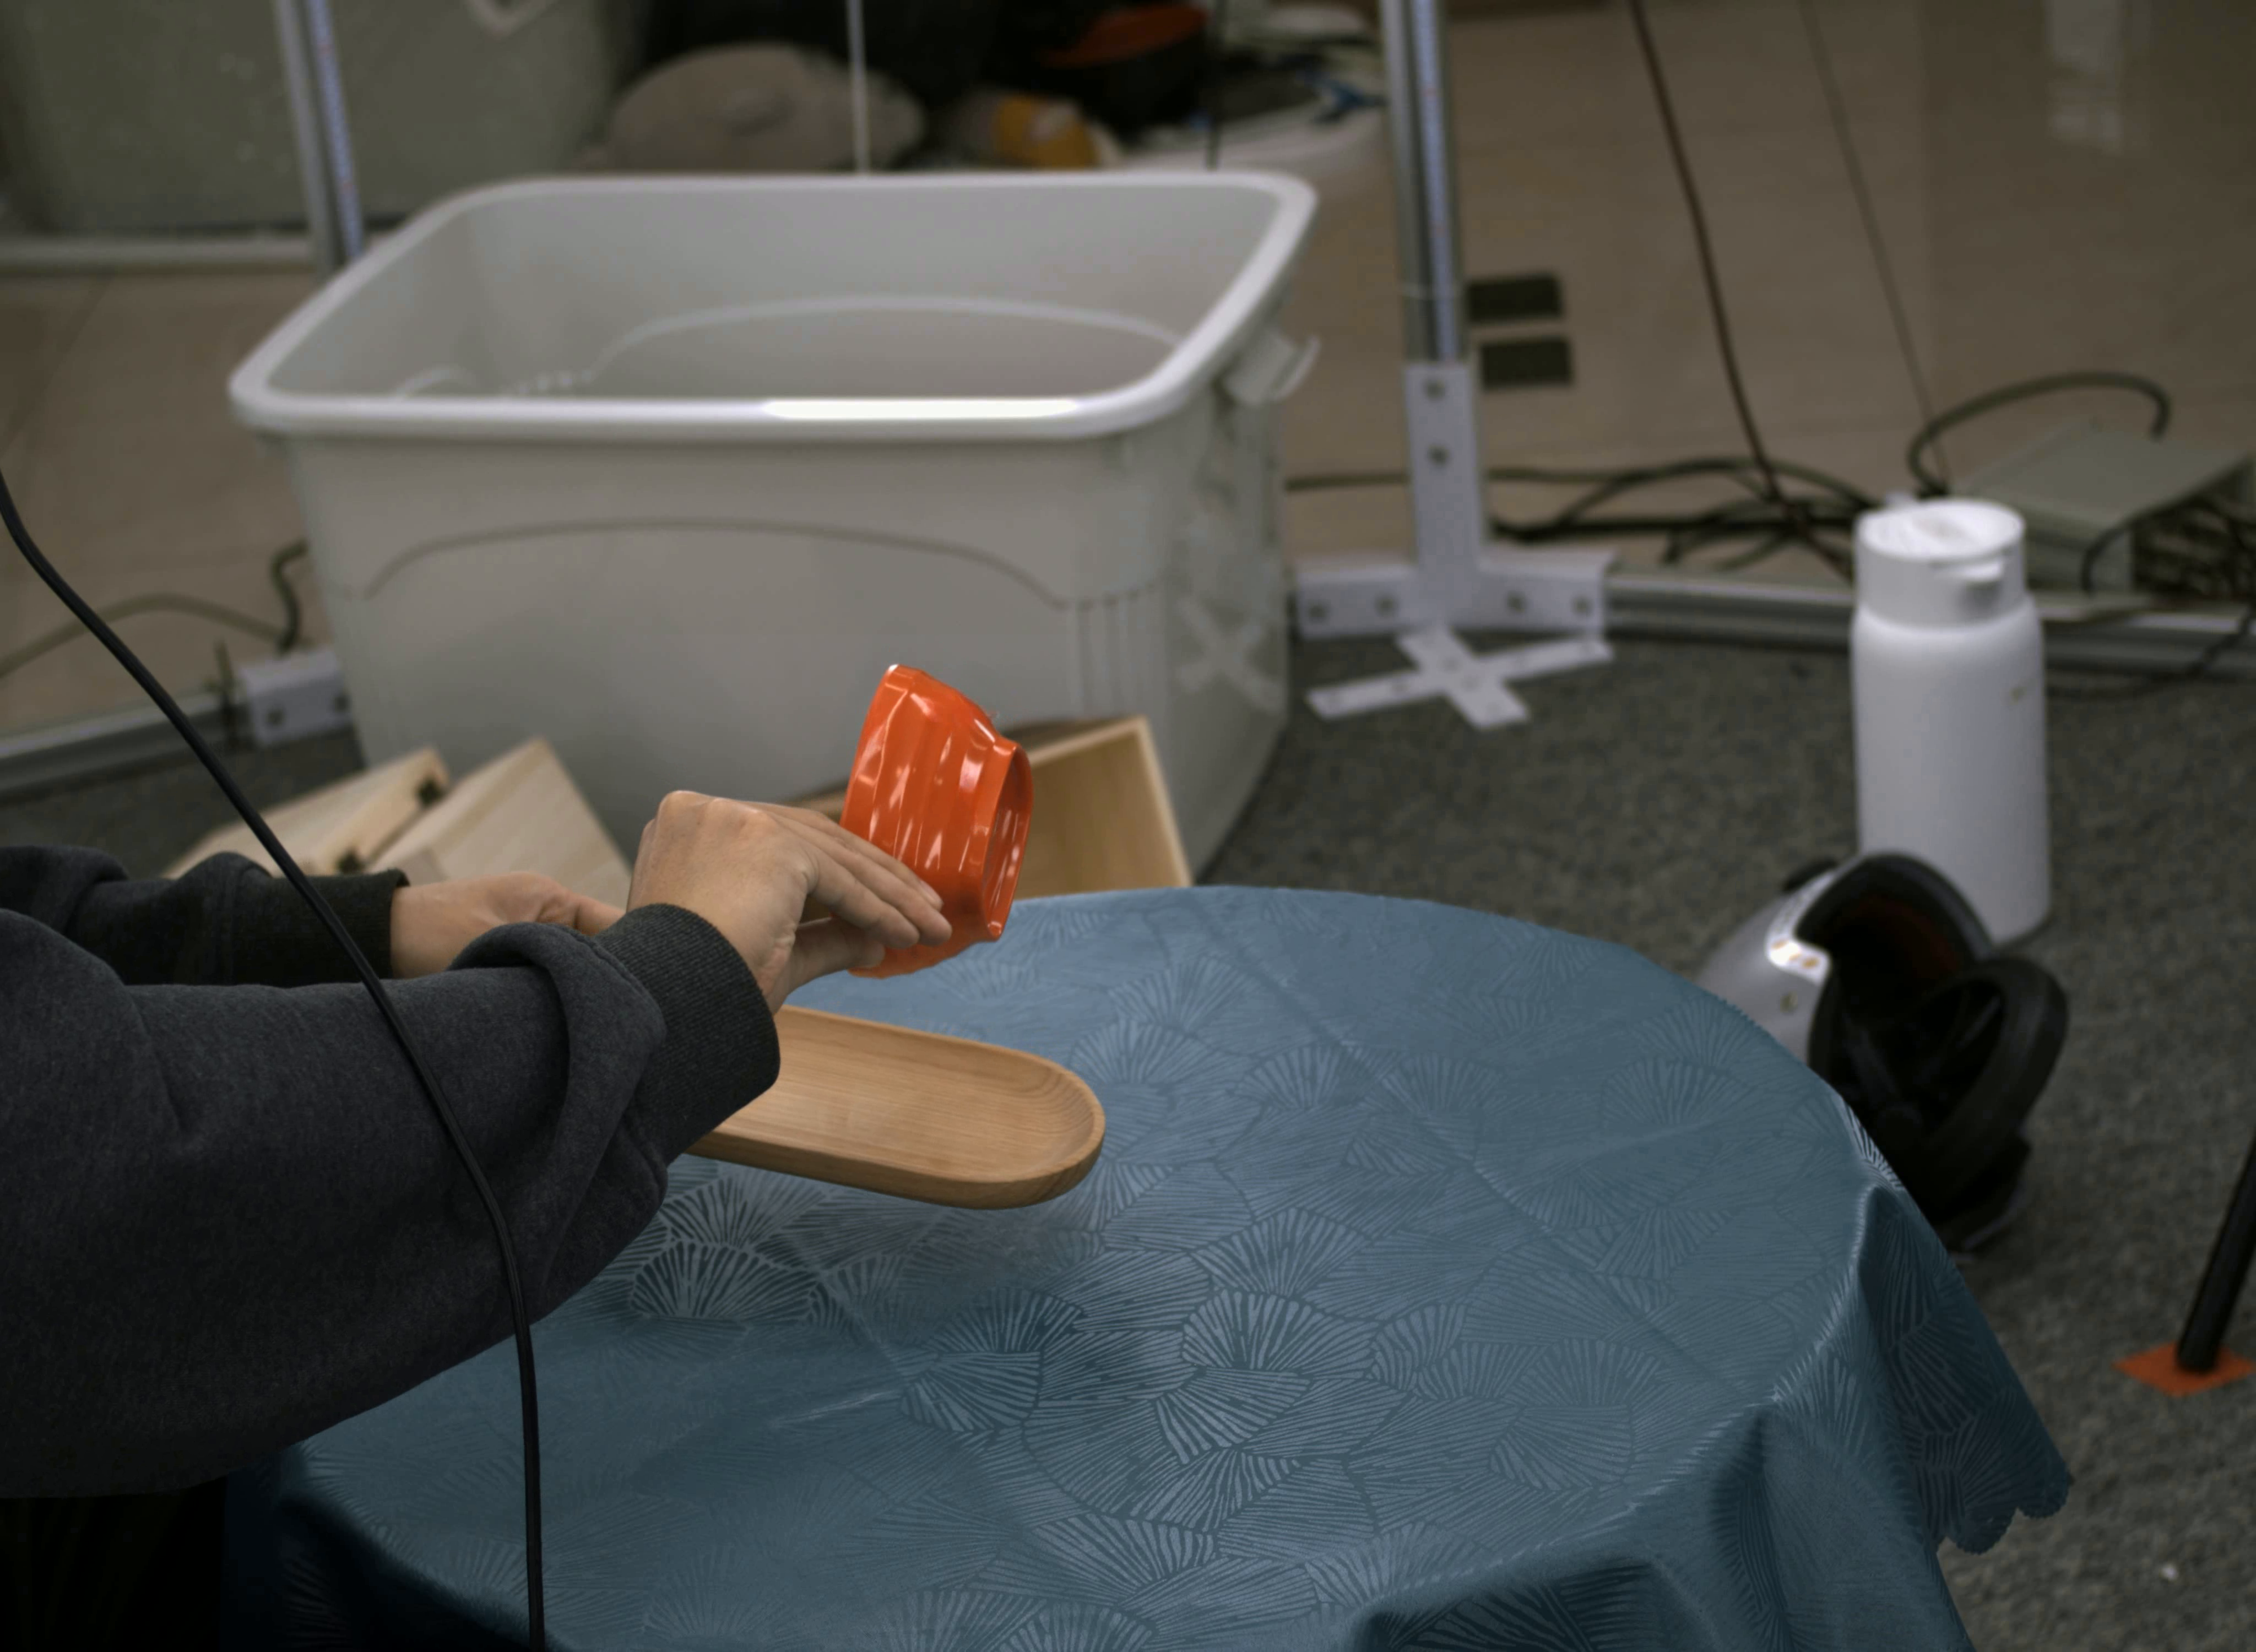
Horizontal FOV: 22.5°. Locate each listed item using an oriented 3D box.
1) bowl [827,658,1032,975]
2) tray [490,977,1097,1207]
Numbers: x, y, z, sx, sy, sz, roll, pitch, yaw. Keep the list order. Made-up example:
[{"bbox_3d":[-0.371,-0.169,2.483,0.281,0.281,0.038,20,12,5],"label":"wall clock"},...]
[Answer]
[{"bbox_3d":[-0.068,0.001,2.031,0.051,0.121,0.117,11,28,9],"label":"bowl"},{"bbox_3d":[-0.125,0.099,2.114,0.230,0.020,0.100,10,27,9],"label":"tray"}]
